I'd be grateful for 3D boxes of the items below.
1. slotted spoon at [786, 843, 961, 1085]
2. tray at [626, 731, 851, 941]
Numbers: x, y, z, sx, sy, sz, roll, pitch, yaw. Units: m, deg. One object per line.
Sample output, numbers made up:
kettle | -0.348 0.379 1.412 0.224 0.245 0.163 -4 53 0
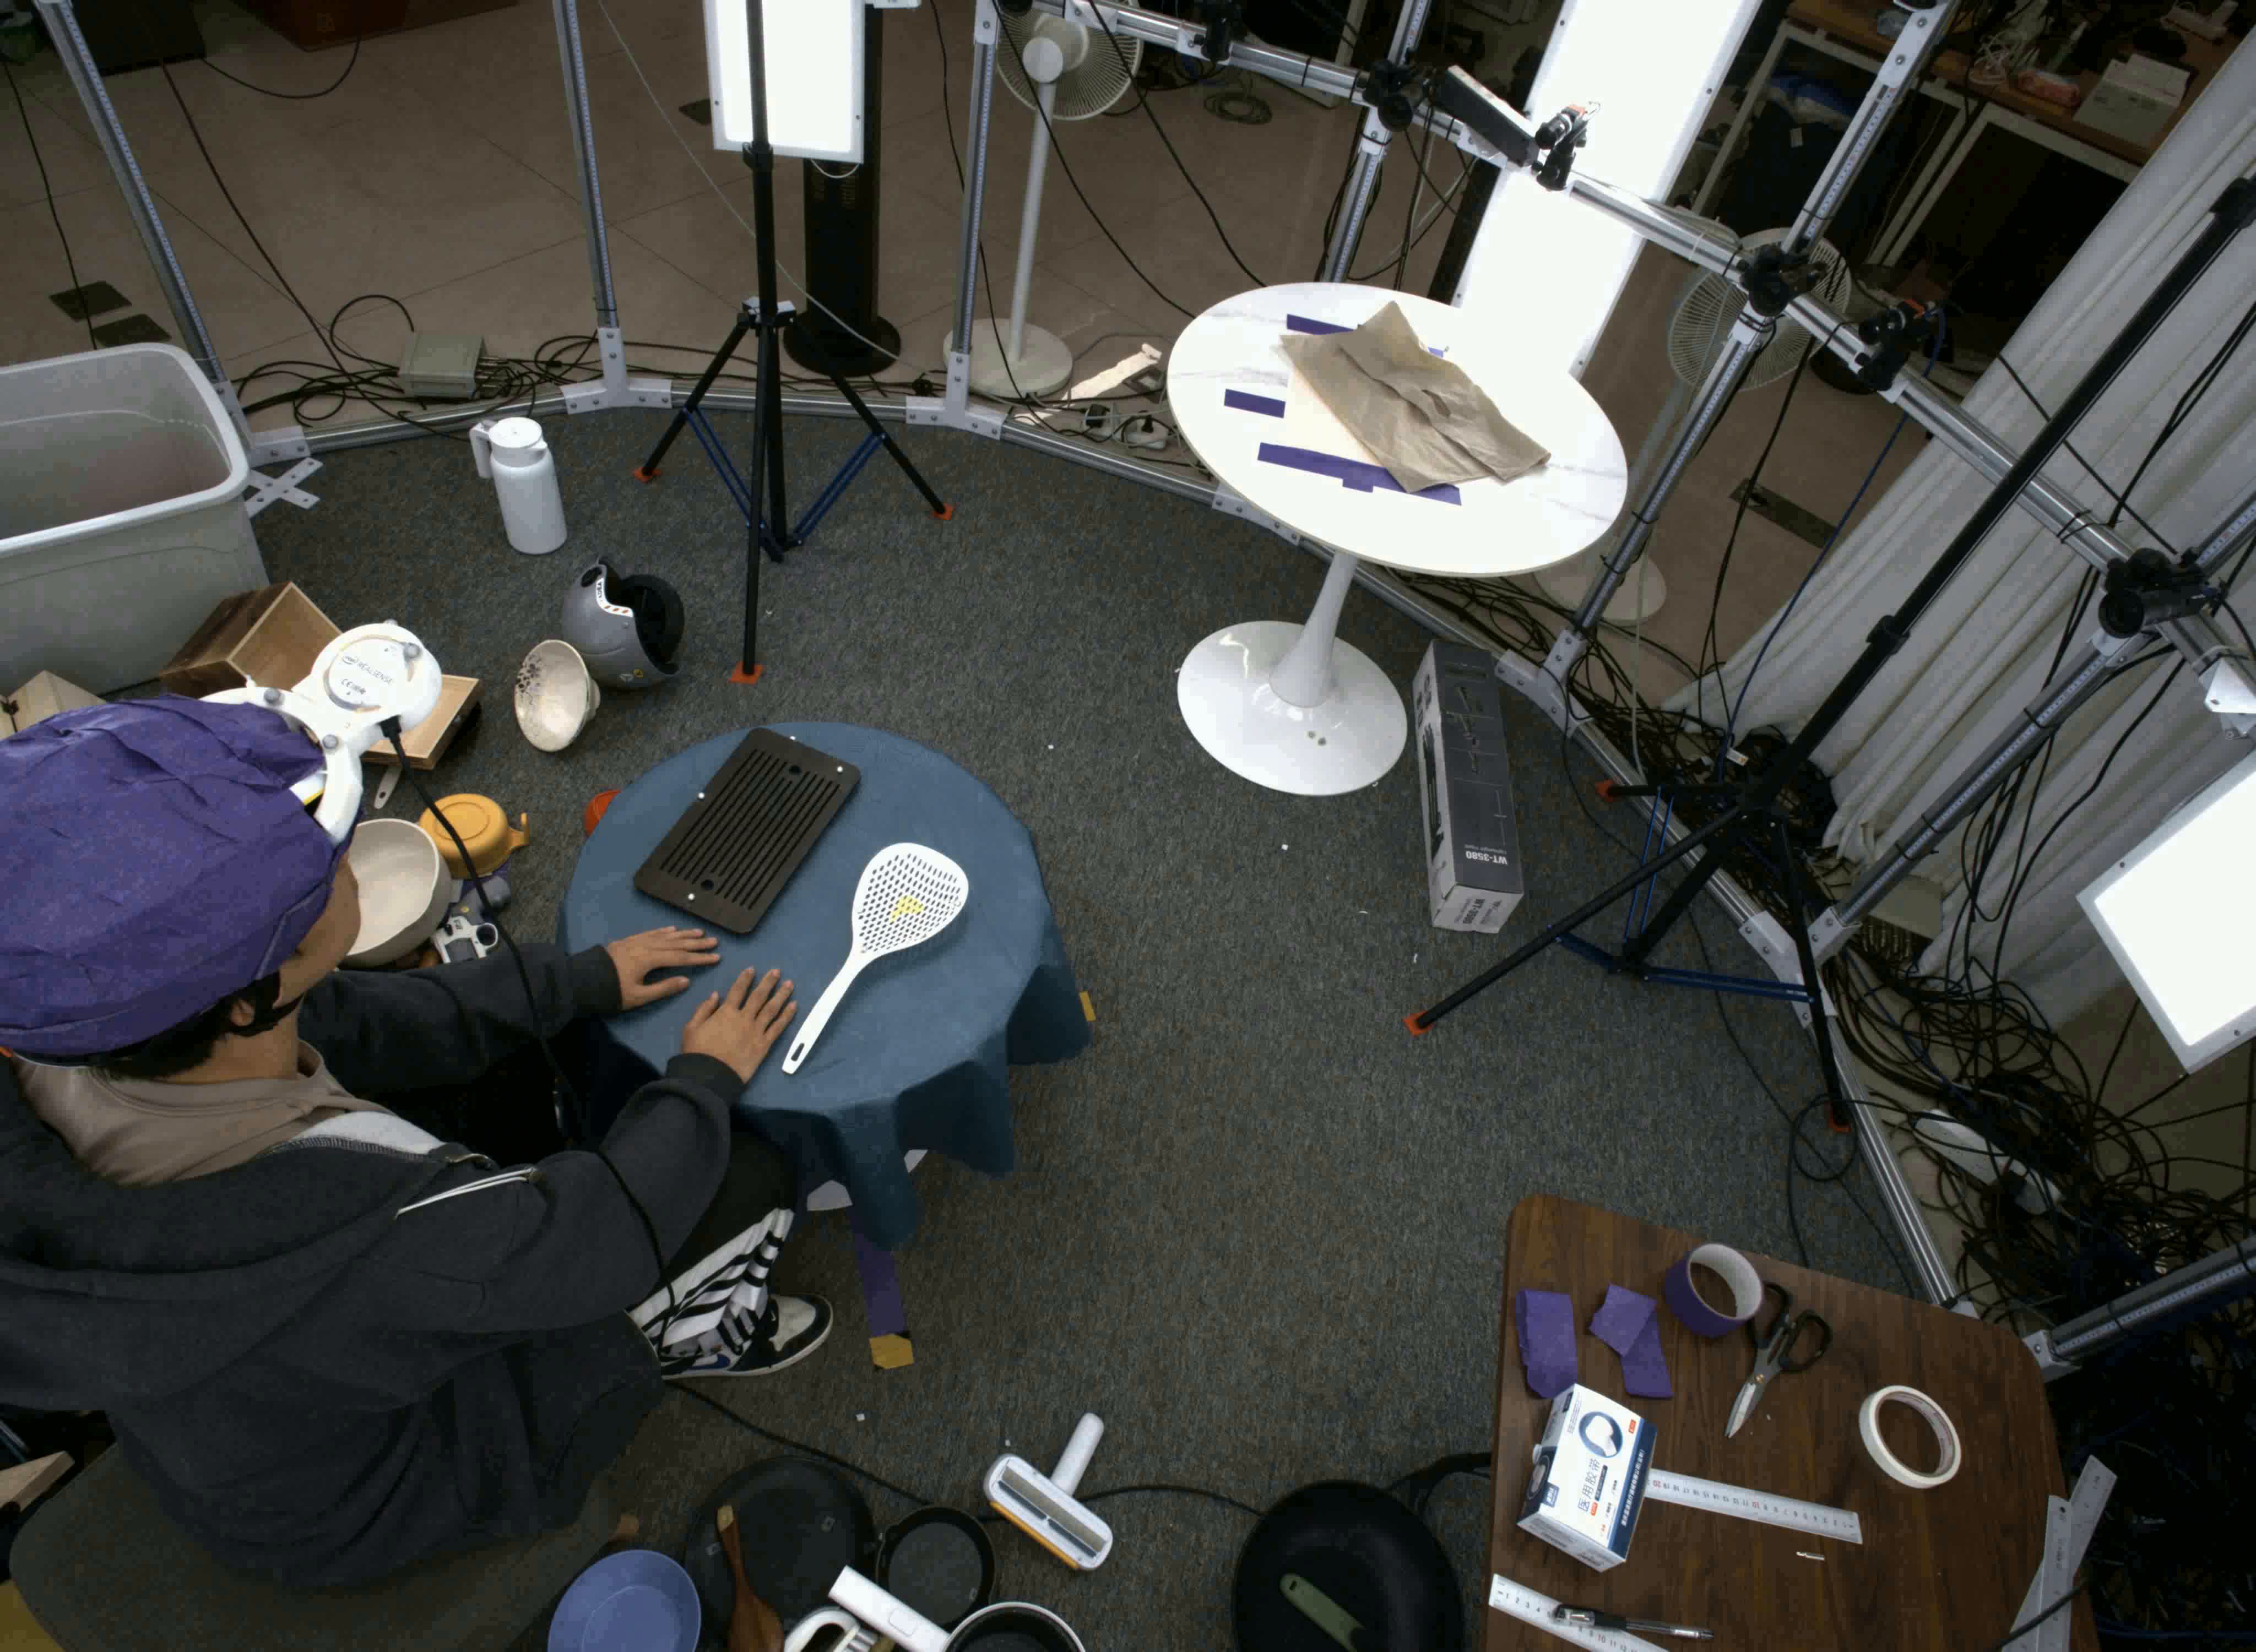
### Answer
slotted spoon | -0.330 0.164 1.604 0.135 0.051 0.346 27 52 4
tray | -0.505 0.006 1.692 0.168 0.019 0.303 23 52 3
